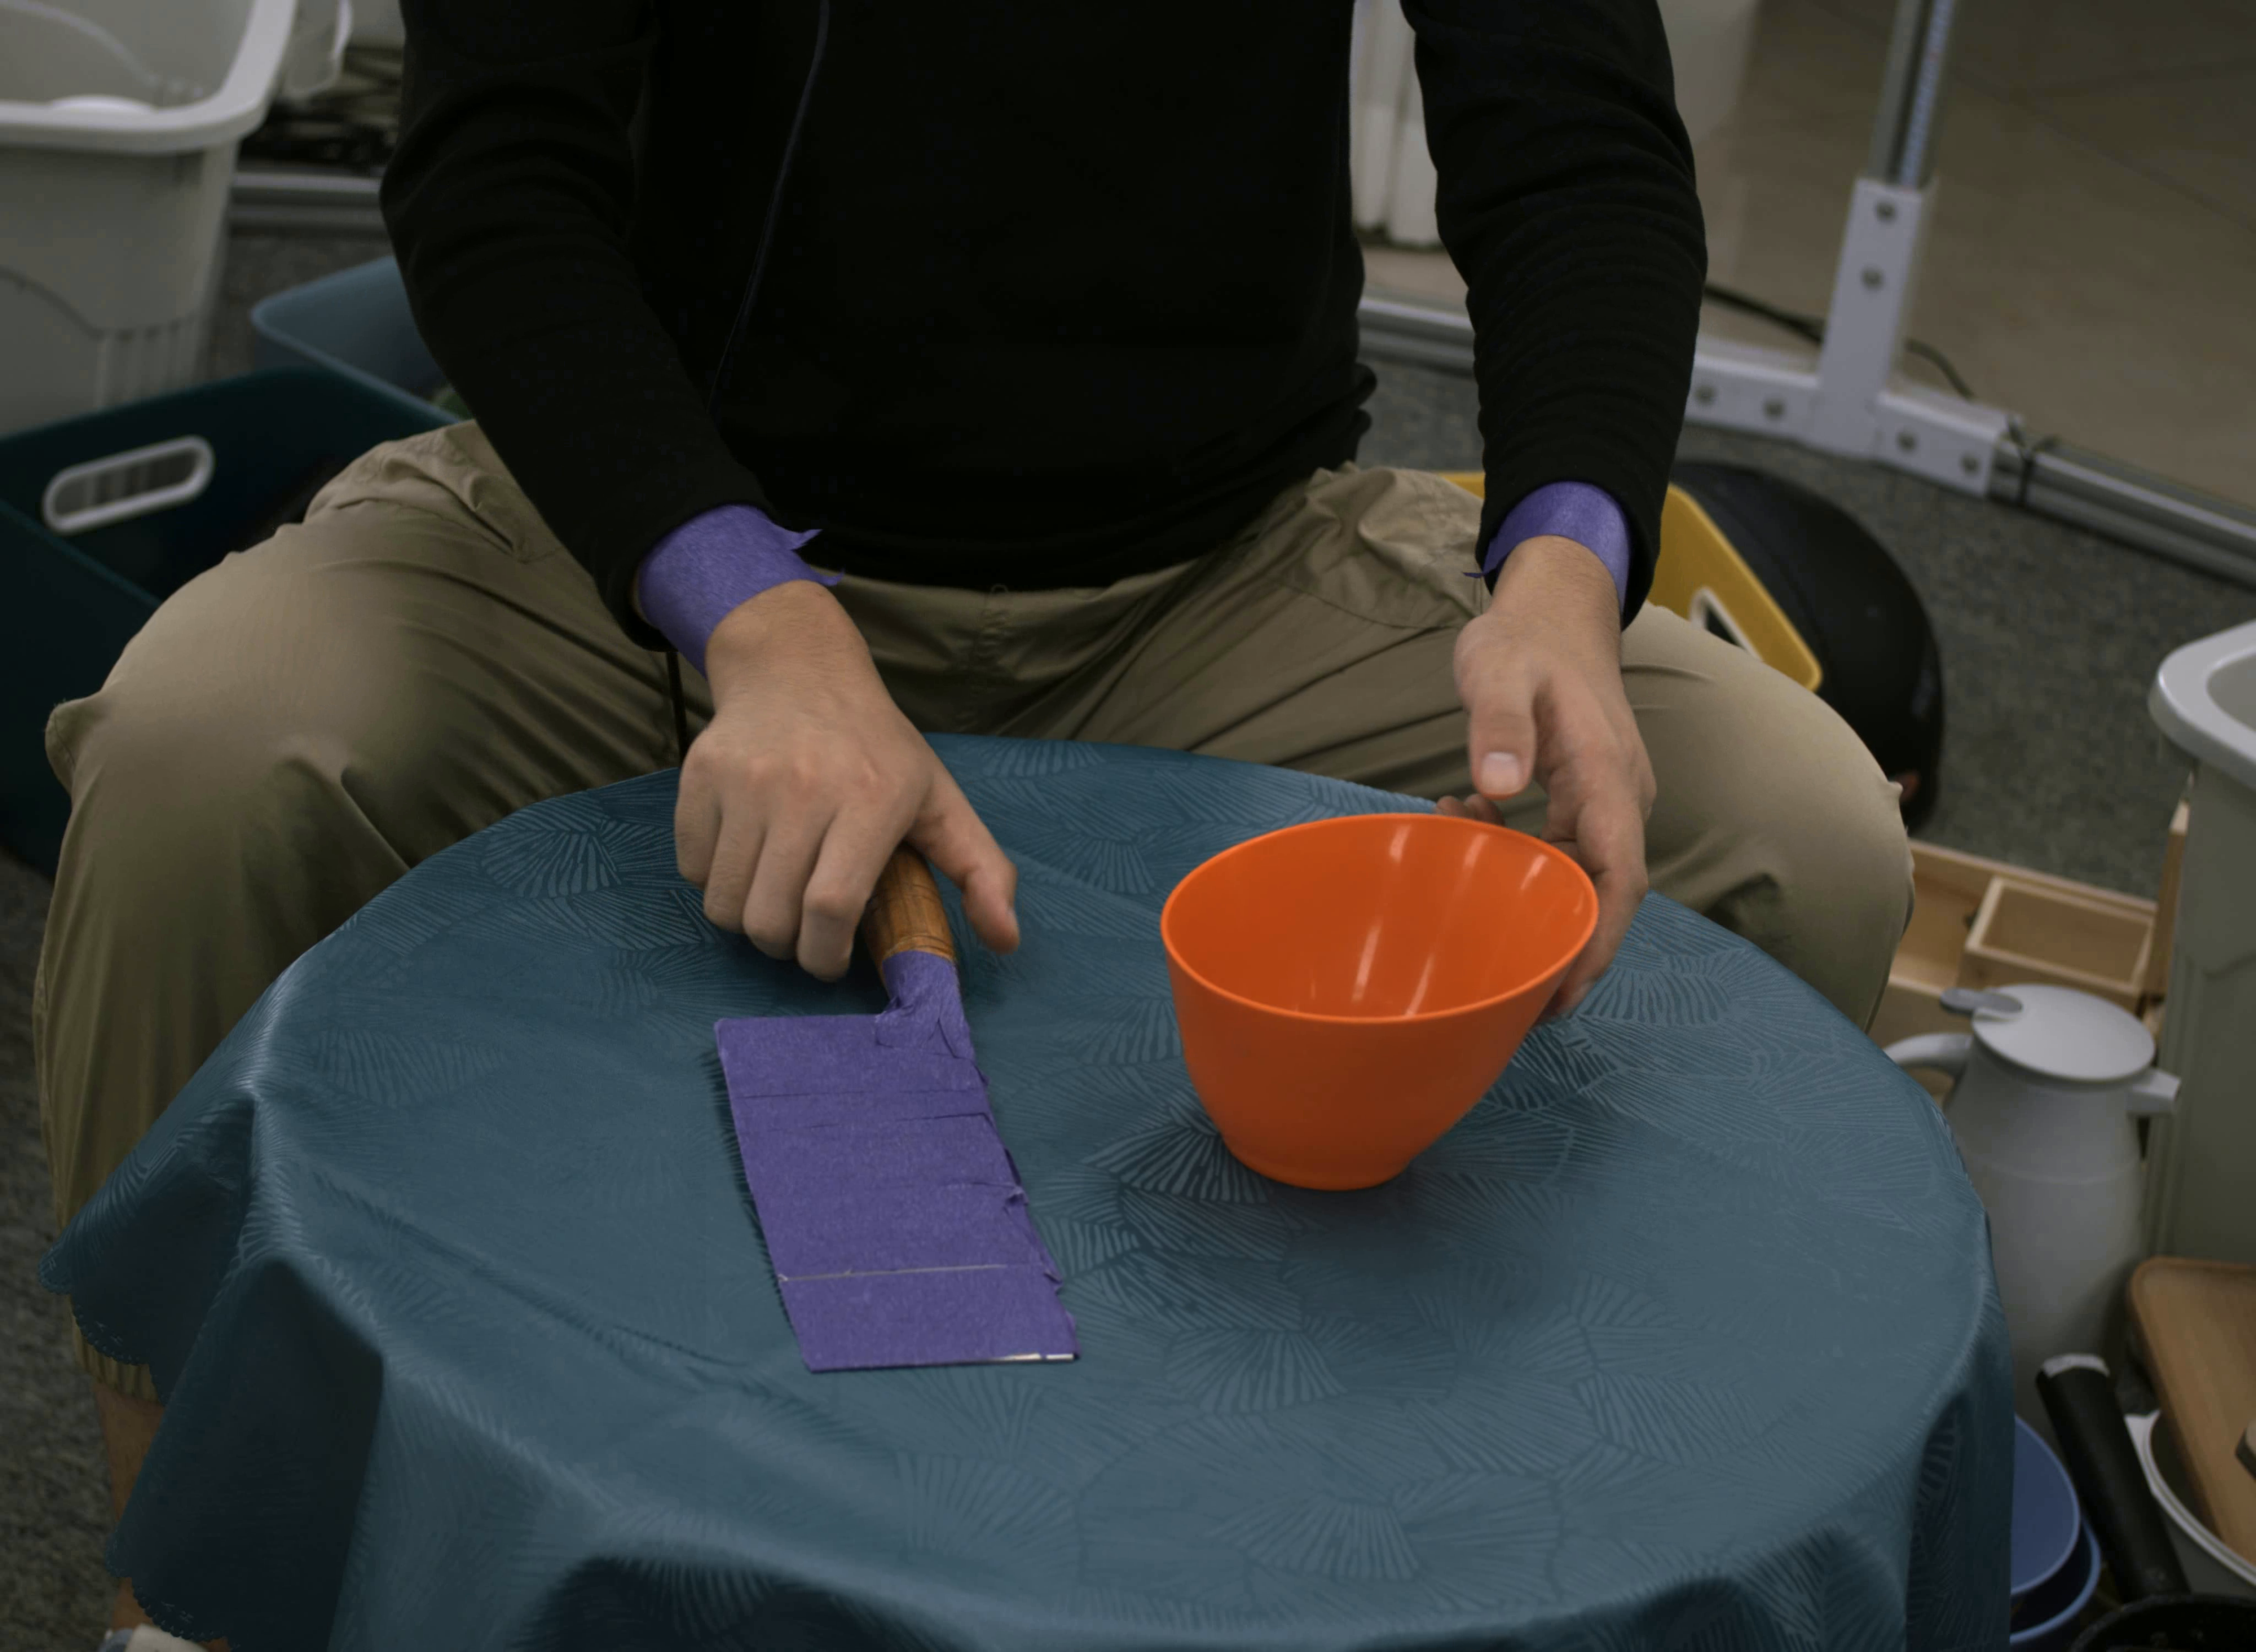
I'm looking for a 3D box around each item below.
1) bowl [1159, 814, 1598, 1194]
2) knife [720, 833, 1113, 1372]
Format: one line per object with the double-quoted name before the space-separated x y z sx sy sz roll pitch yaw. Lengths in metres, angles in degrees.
"bowl" 0.081 0.067 1.825 0.147 0.104 0.149 4 28 -3
"knife" -0.088 0.090 1.823 0.103 0.032 0.318 0 28 -15
